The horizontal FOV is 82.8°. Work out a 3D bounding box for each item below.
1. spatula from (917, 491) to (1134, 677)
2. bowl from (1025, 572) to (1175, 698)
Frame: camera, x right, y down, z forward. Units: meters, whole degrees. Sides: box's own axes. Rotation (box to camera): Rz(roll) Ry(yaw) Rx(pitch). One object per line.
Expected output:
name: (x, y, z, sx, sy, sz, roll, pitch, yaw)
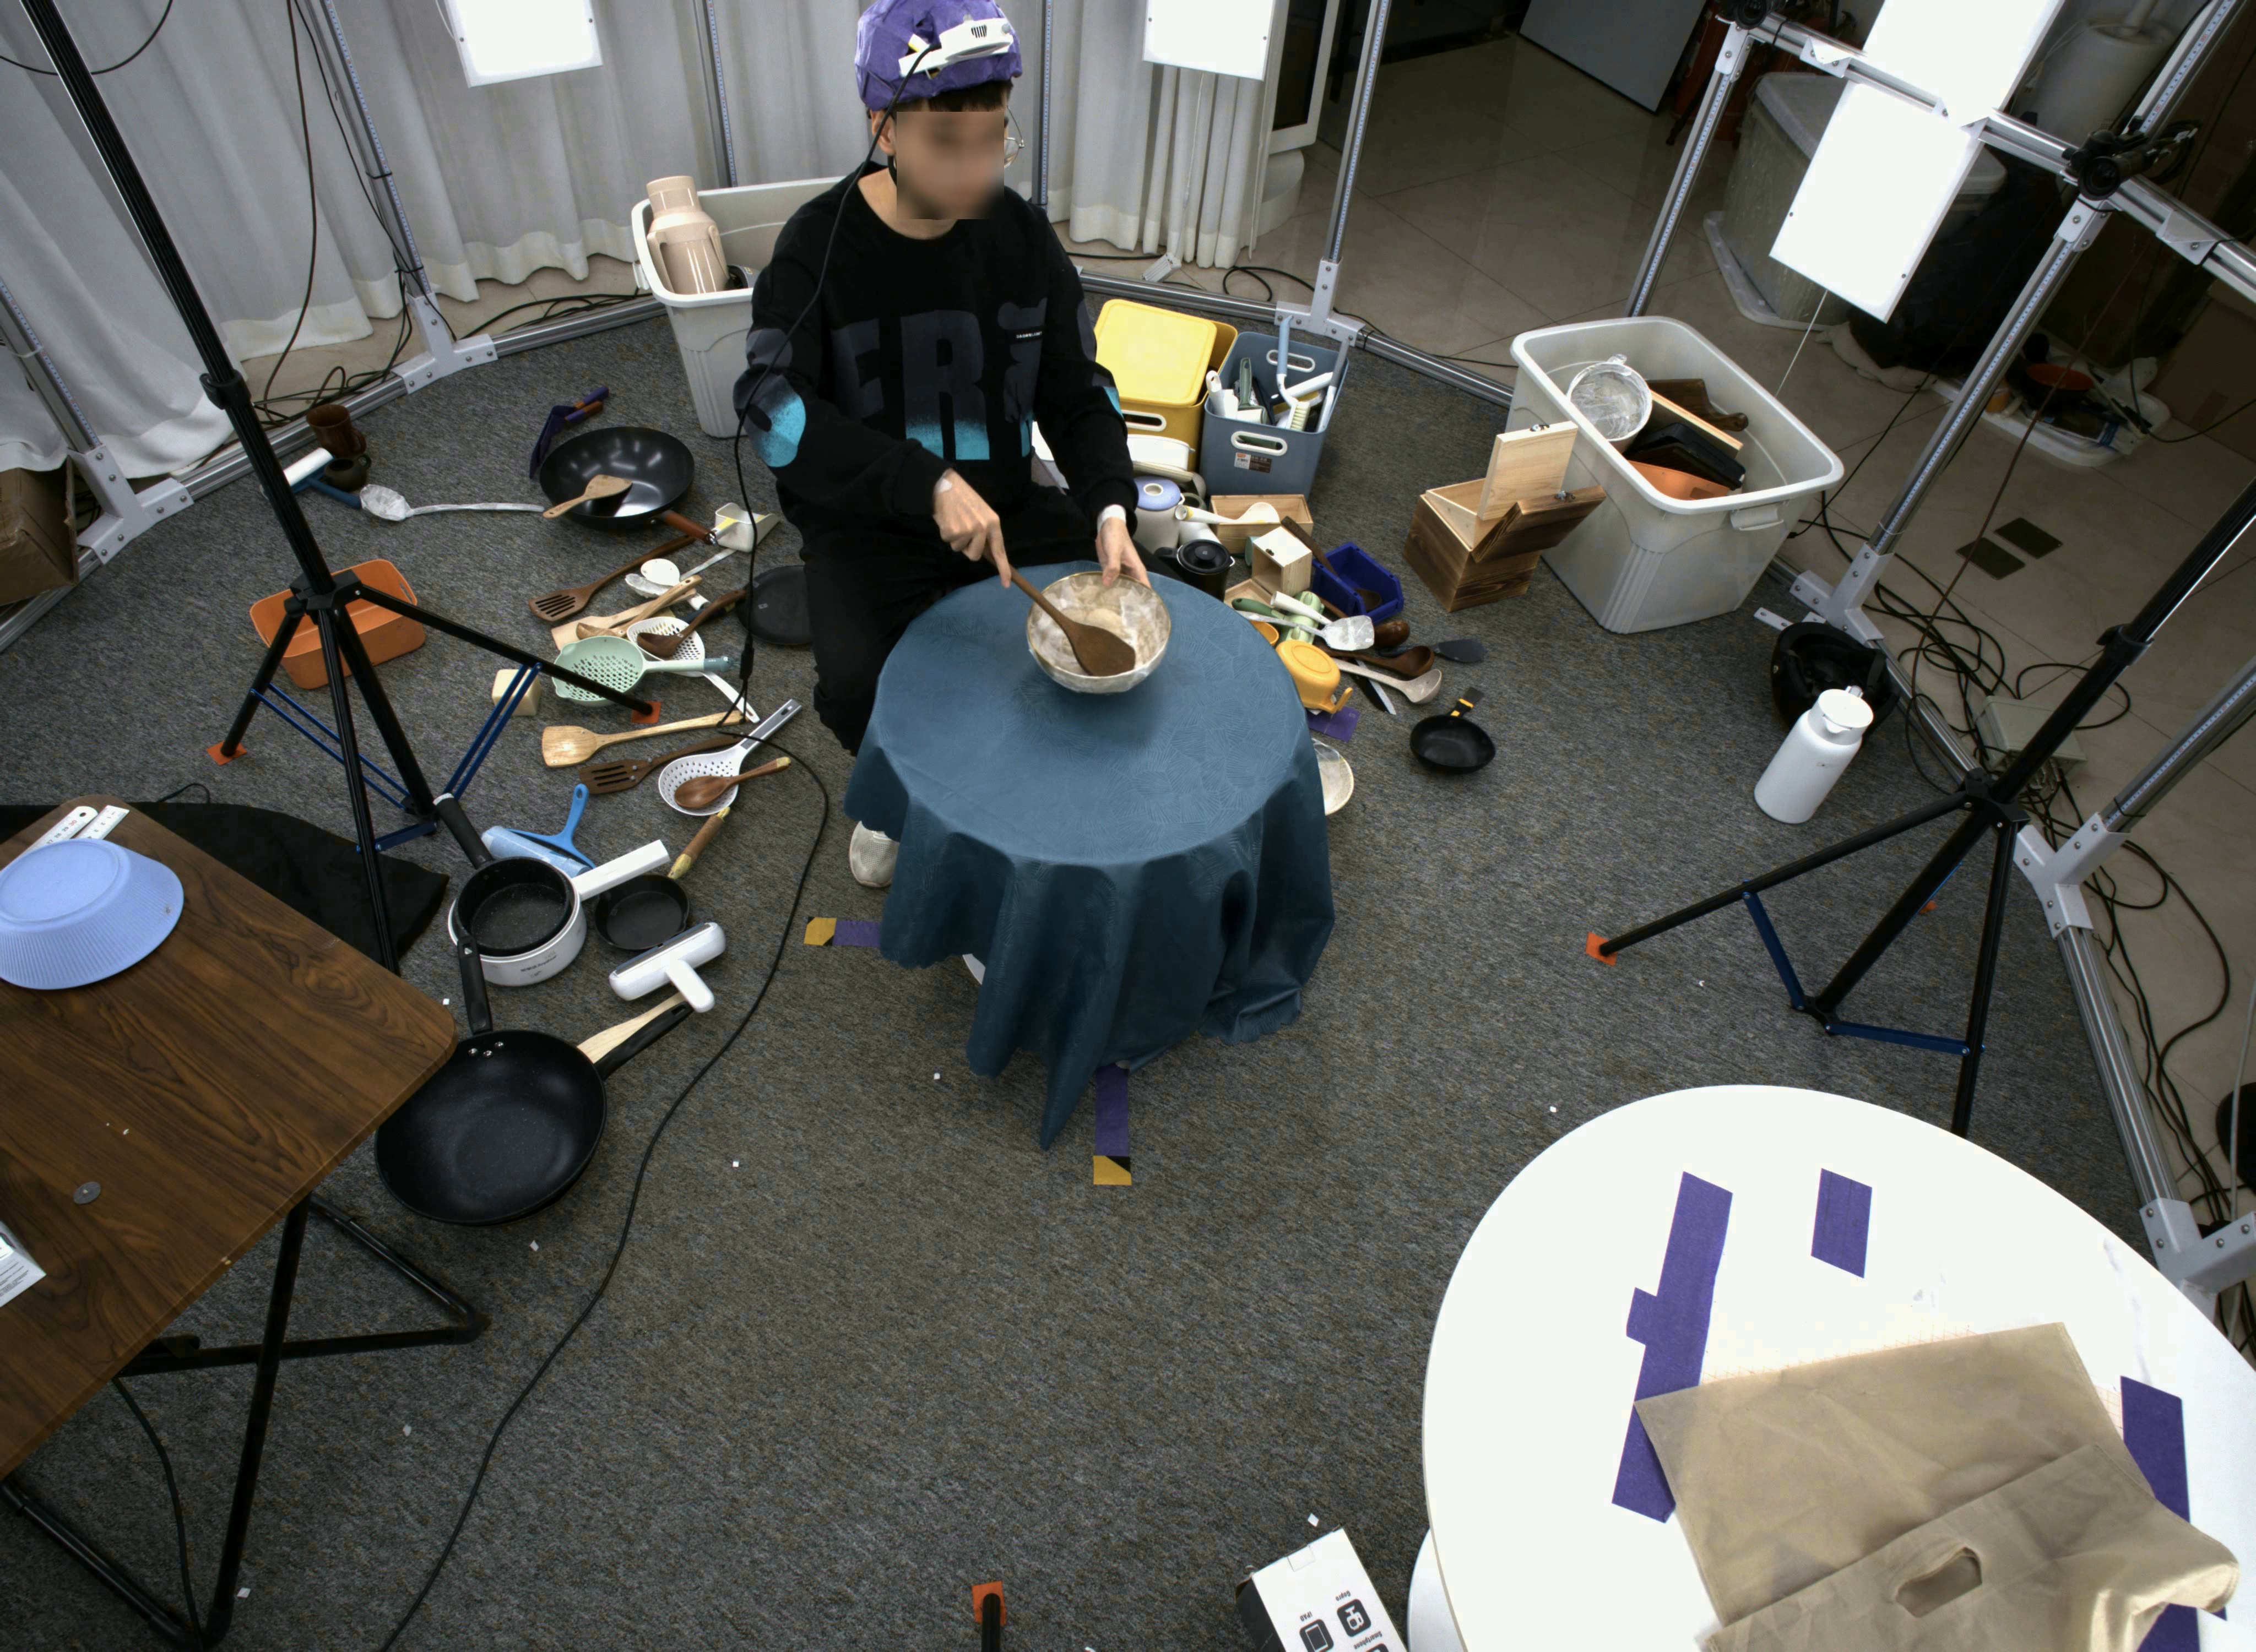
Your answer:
spatula: (-0.140, -0.332, 1.794, 0.382, 0.015, 0.098, 41, 46, -14)
bowl: (-0.040, -0.257, 1.828, 0.214, 0.092, 0.220, -1, 53, 1)
